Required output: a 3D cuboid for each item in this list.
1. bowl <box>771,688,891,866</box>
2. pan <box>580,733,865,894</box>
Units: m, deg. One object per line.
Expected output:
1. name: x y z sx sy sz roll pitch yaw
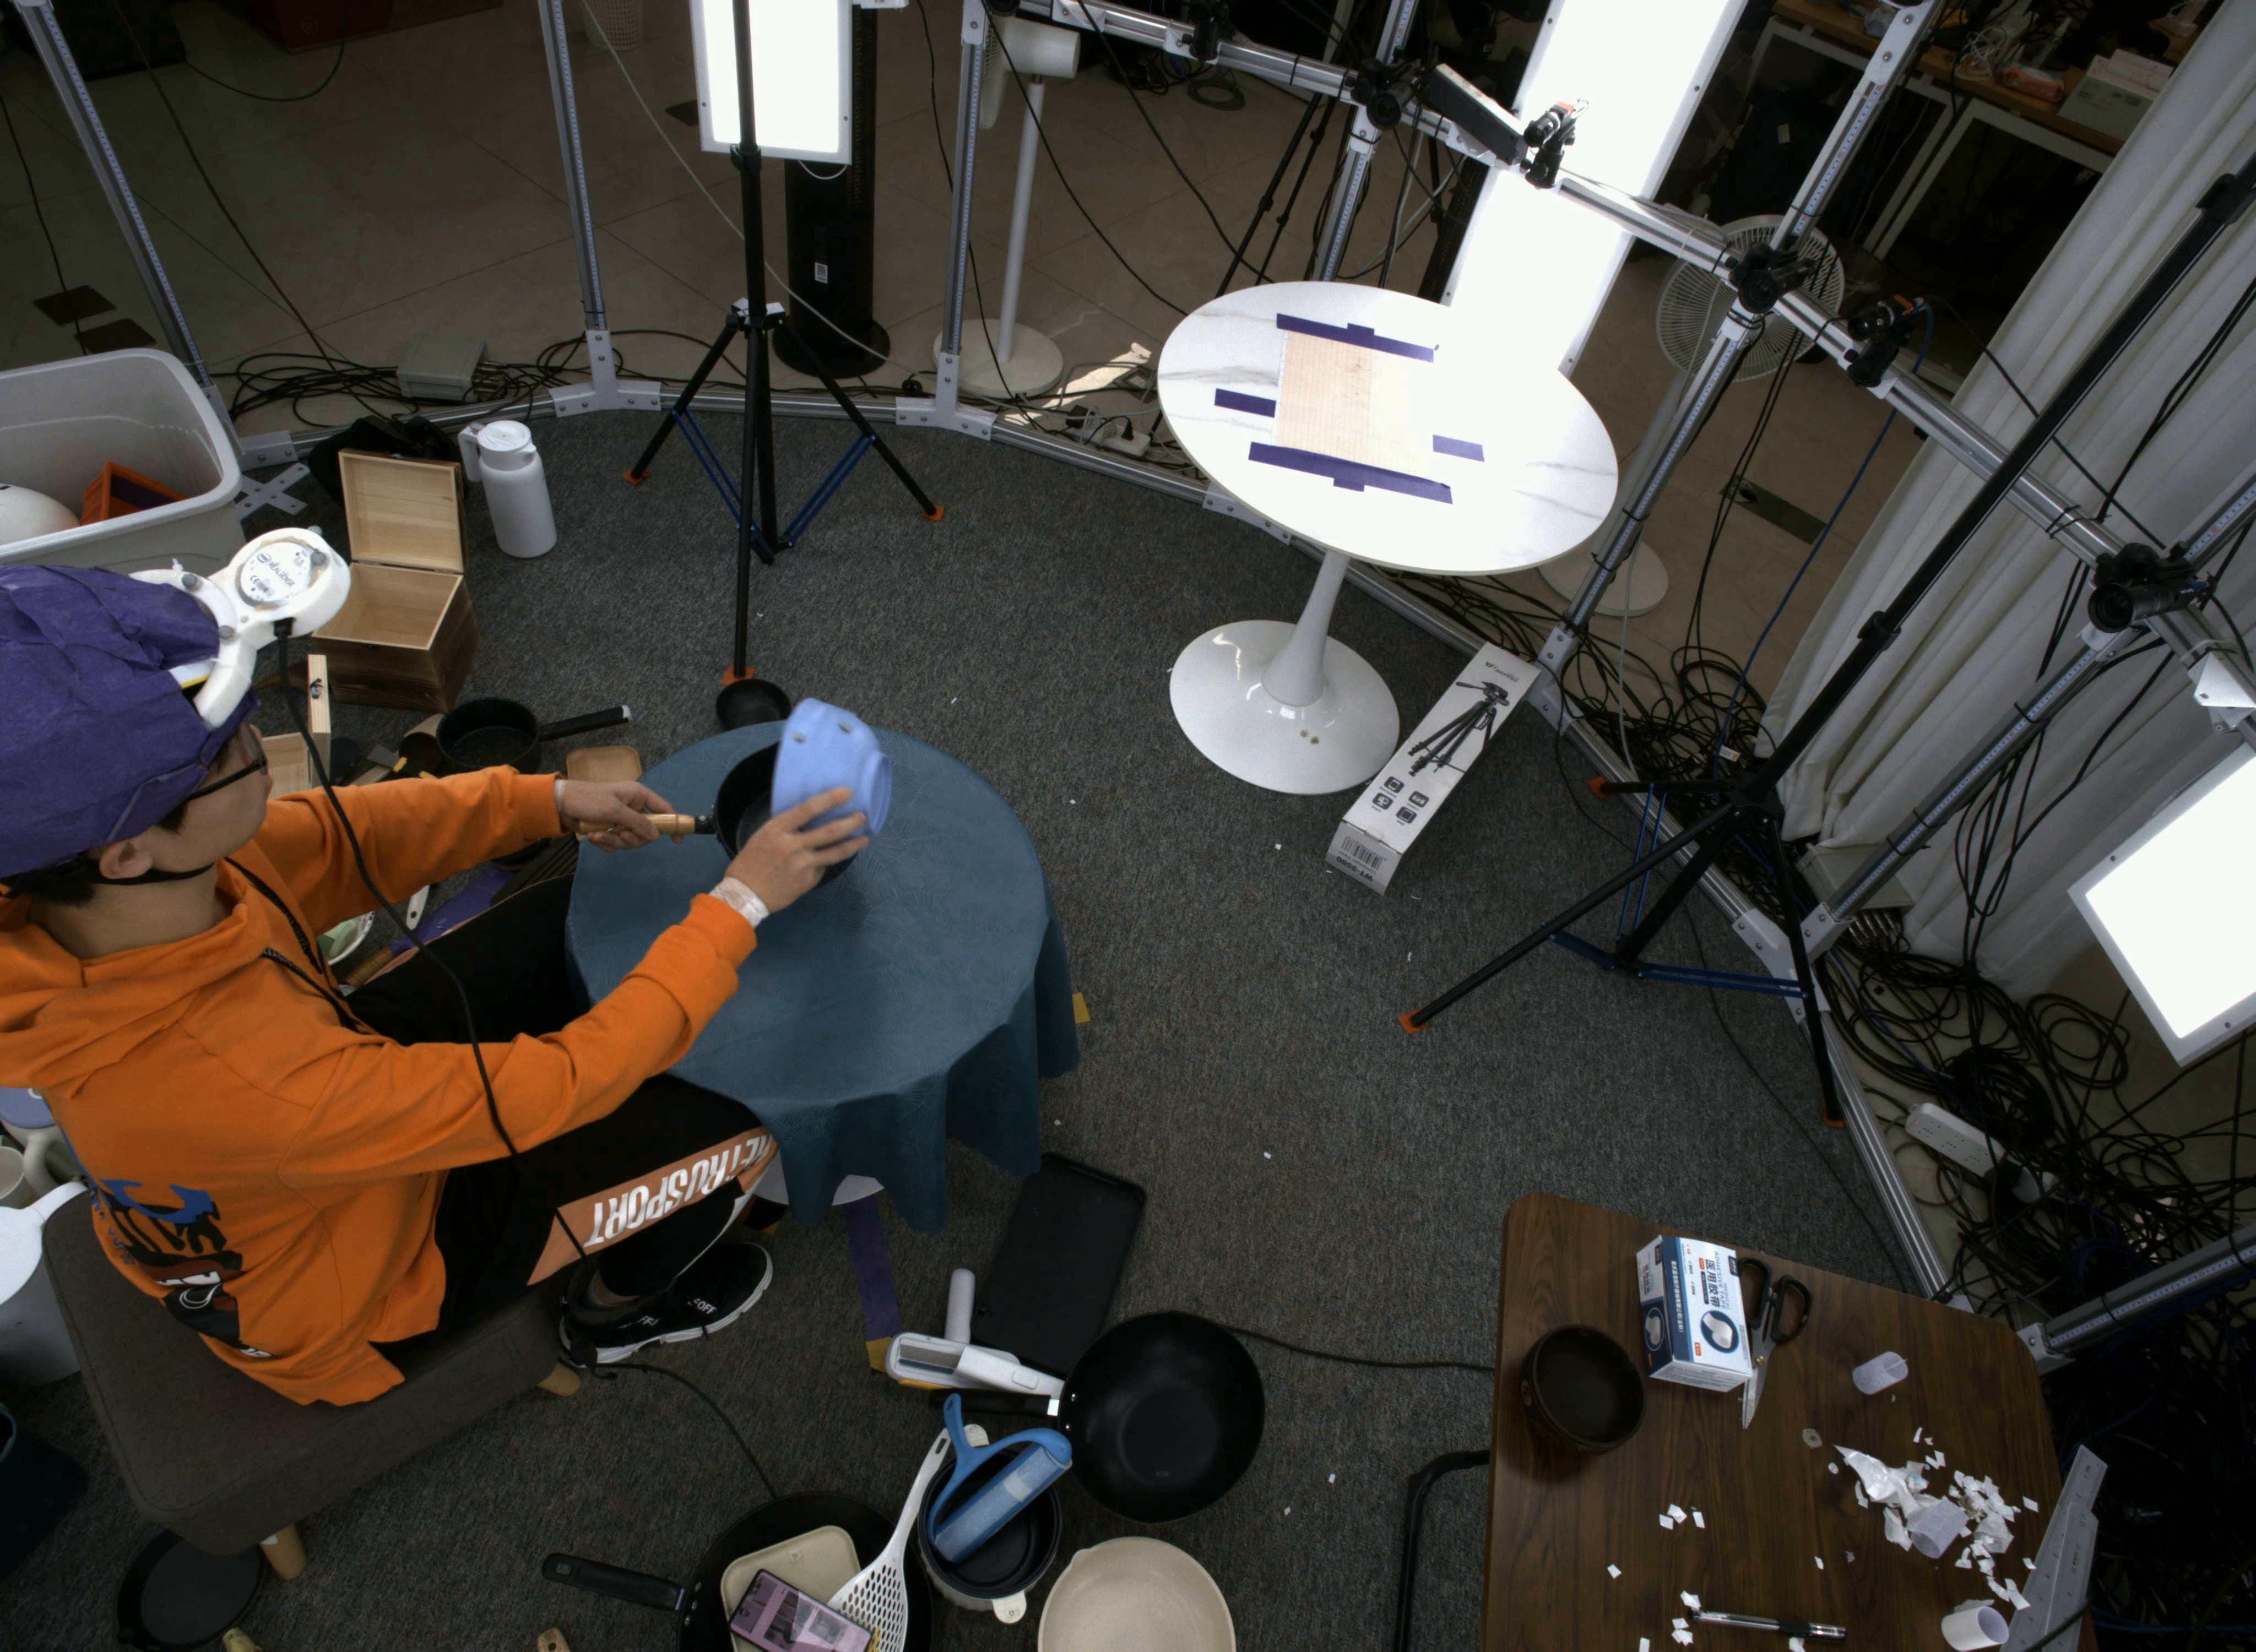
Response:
1. bowl: -0.323 -0.047 1.452 0.094 0.201 0.193 9 51 1
2. pan: -0.489 0.000 1.568 0.344 0.109 0.205 -7 67 -20
